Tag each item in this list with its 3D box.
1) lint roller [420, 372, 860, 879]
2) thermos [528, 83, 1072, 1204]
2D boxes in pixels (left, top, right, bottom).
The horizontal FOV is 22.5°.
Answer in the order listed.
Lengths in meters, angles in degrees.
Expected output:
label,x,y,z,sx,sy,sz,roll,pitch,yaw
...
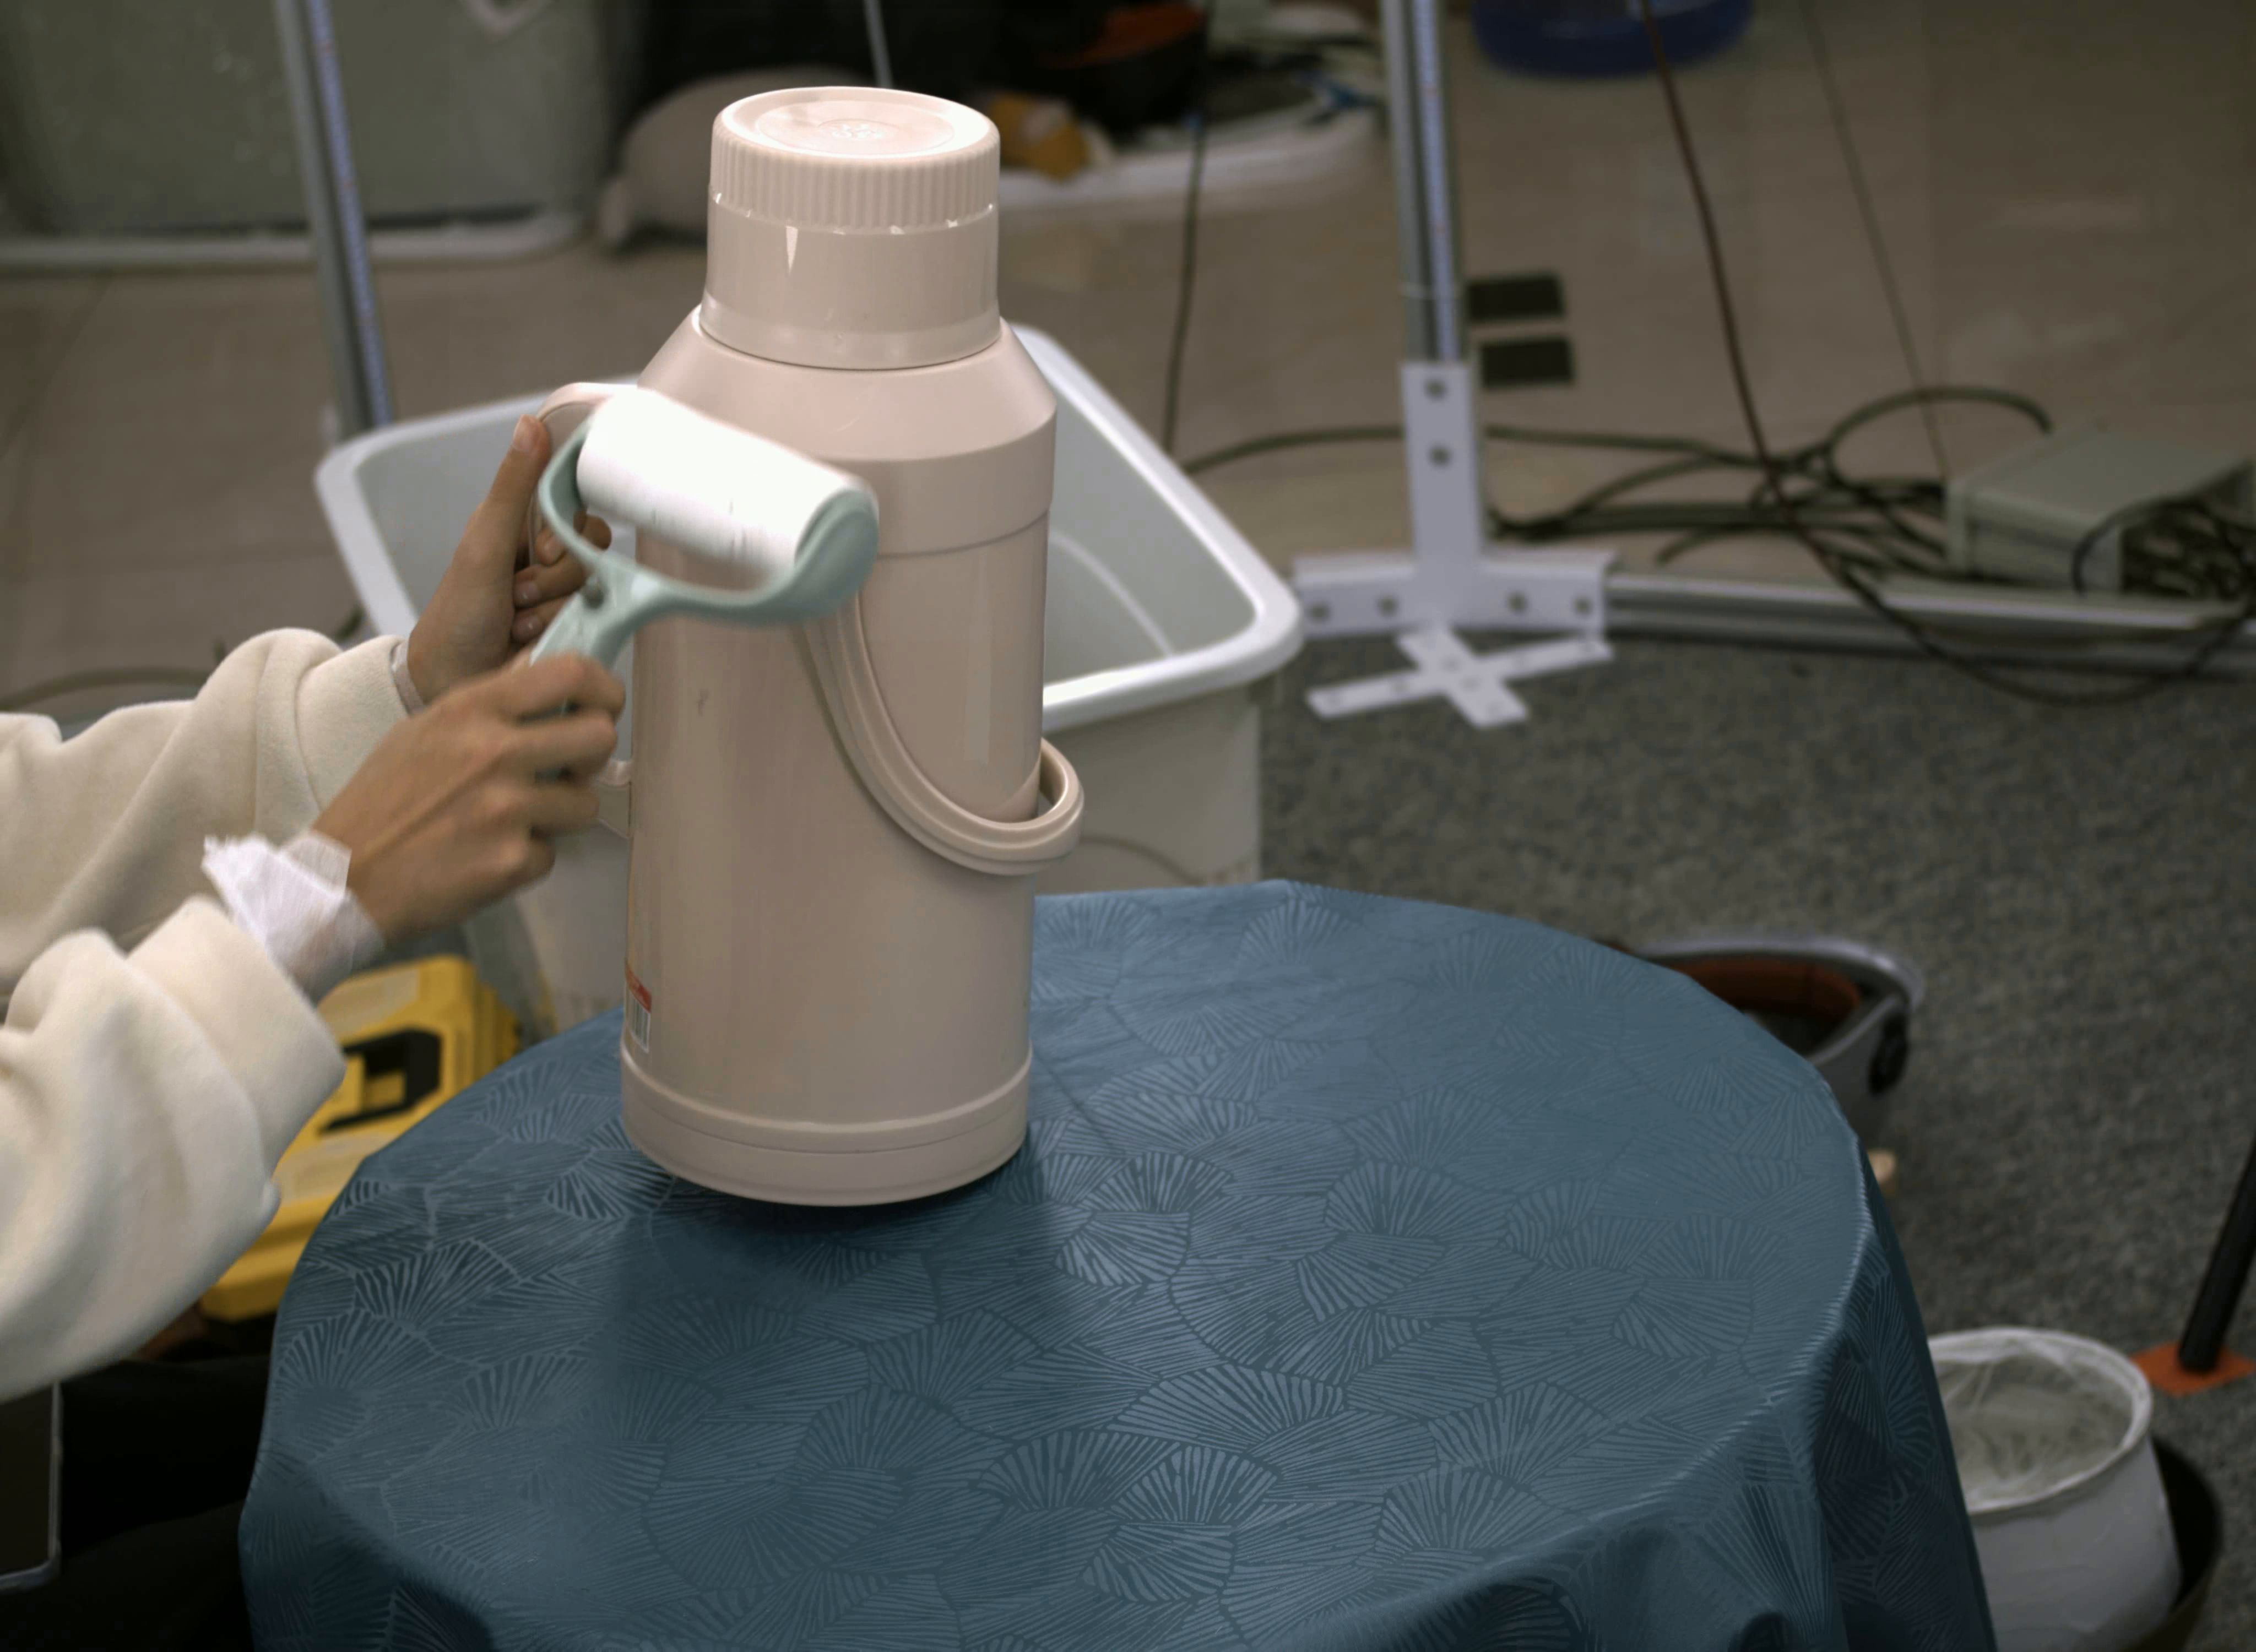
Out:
label,x,y,z,sx,sy,sz,roll,pitch,yaw
lint roller,-0.190,-0.068,1.966,0.116,0.049,0.195,26,67,26
thermos,-0.122,-0.070,2.123,0.206,0.412,0.173,3,24,1
